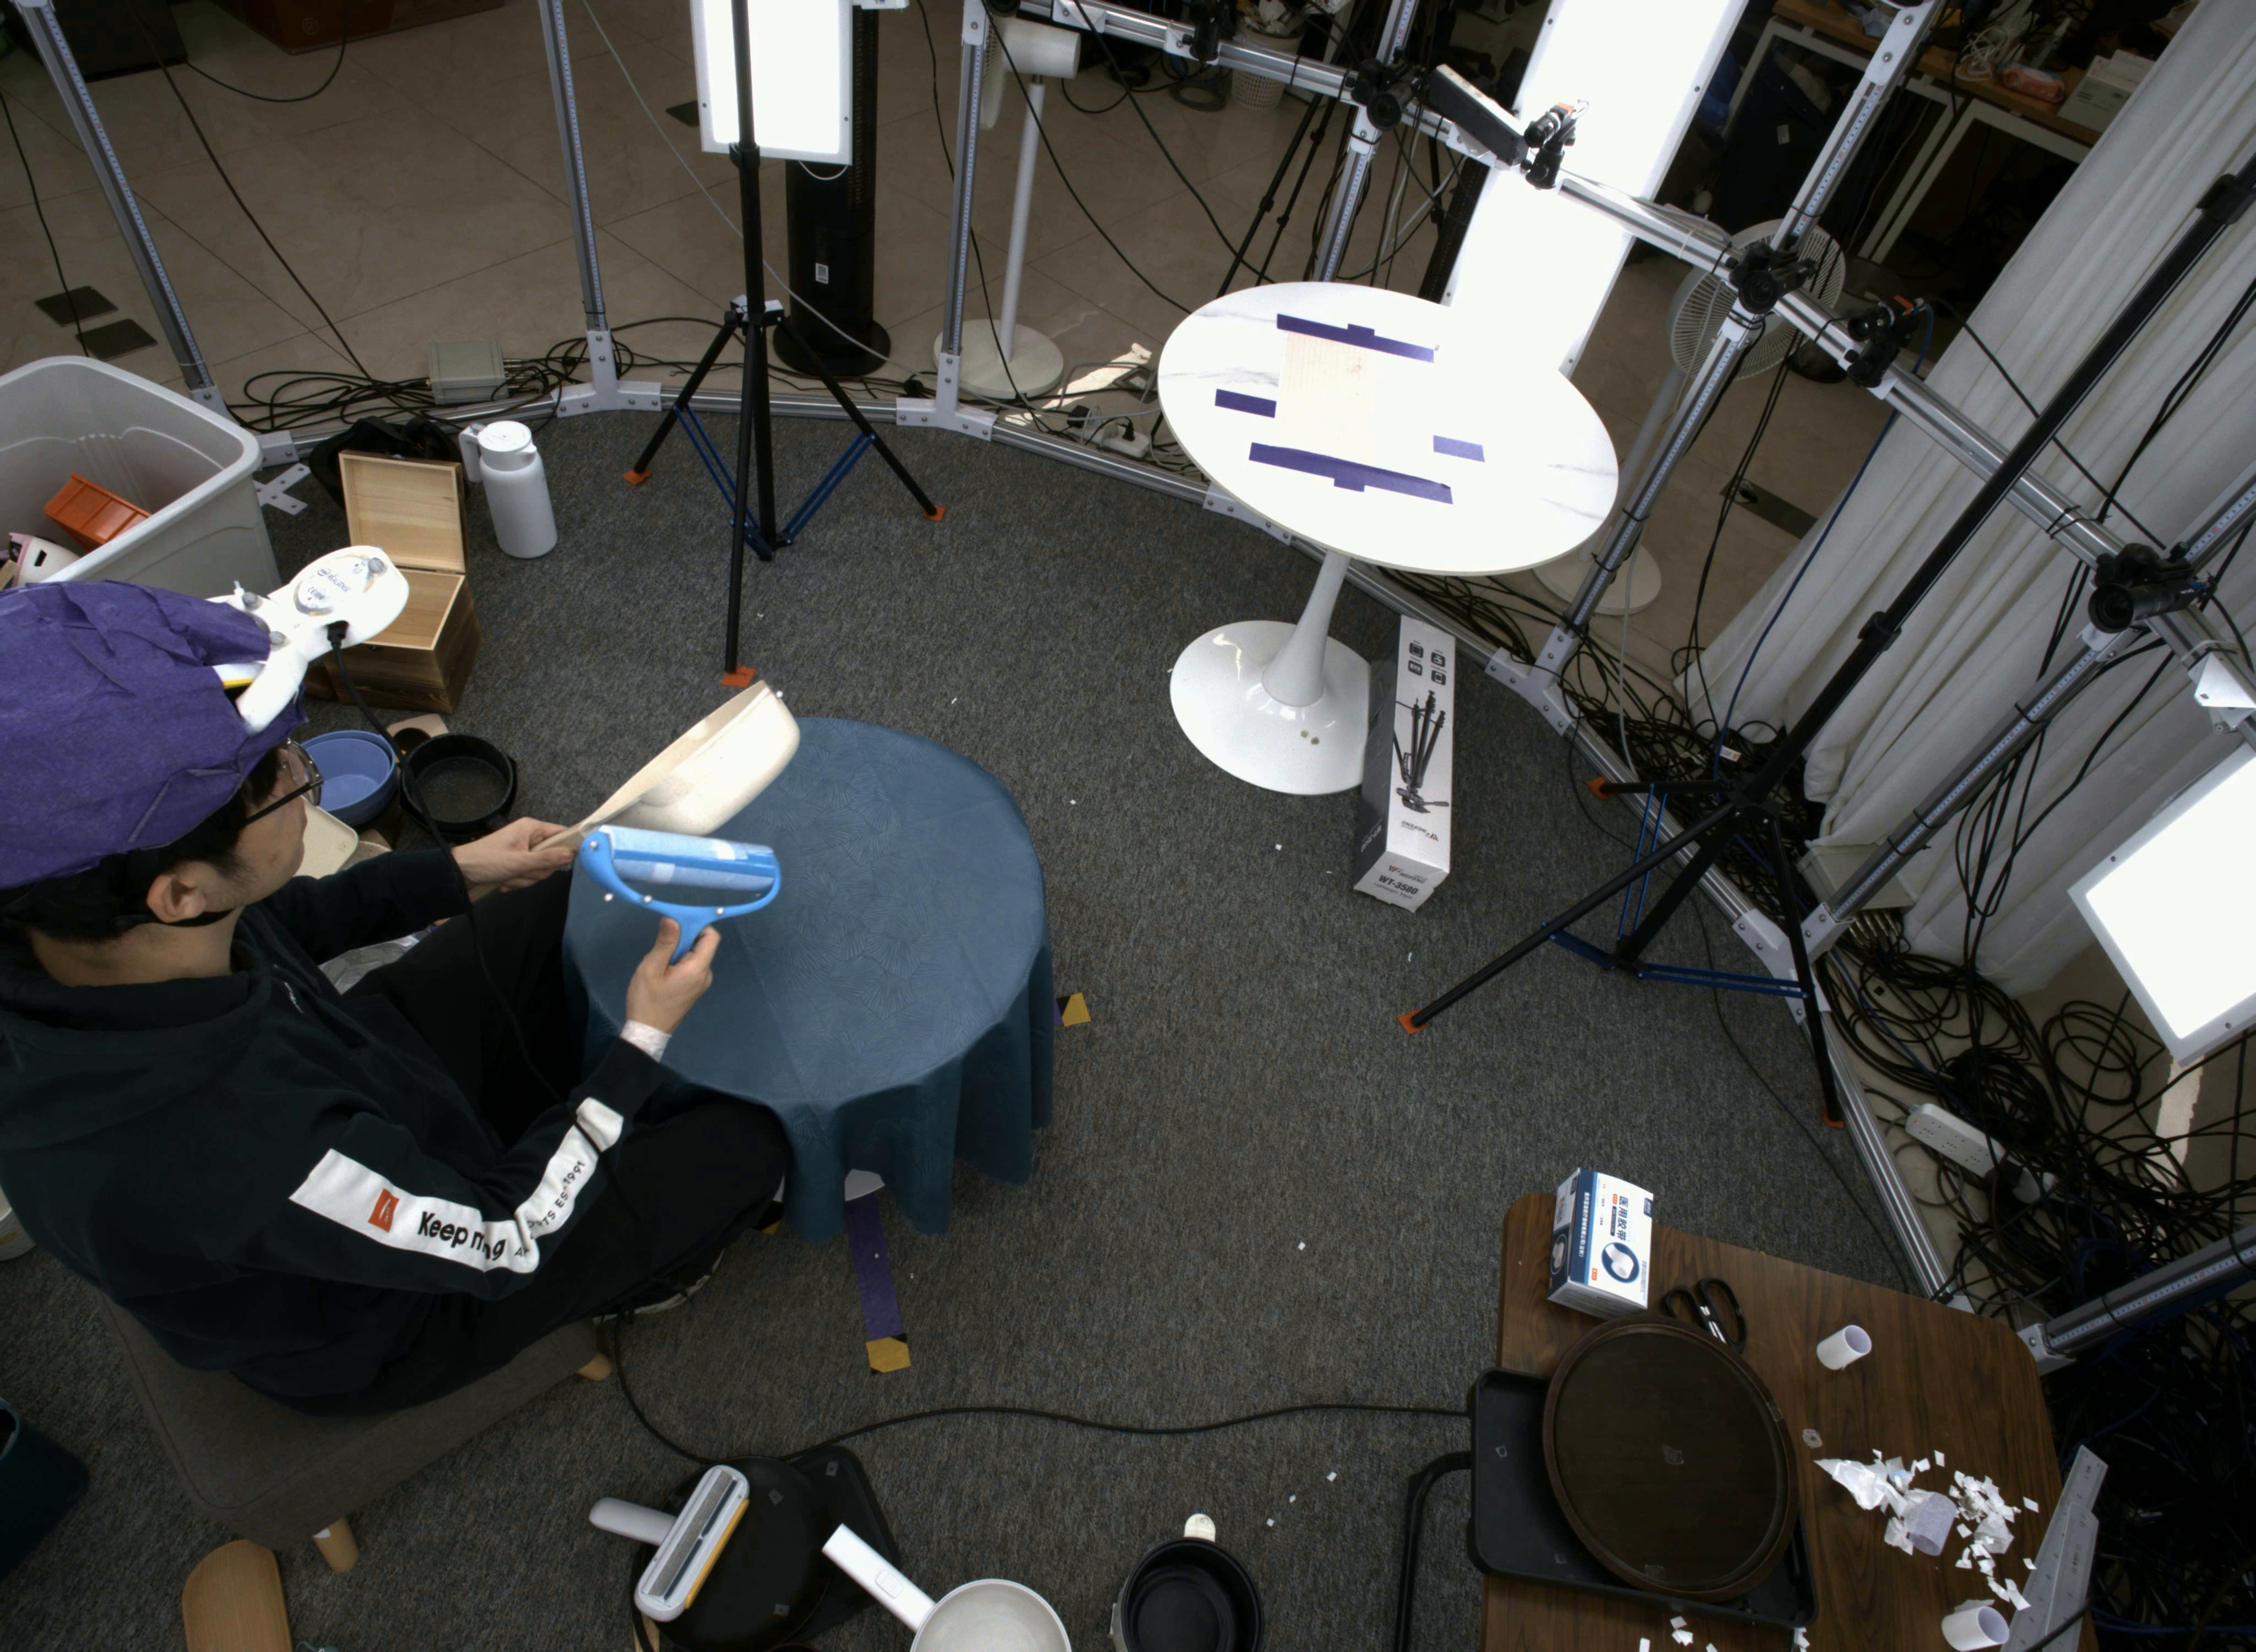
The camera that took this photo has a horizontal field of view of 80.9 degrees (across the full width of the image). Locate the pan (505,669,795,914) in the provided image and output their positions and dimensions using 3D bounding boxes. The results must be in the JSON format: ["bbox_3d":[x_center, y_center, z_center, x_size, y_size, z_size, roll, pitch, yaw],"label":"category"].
[{"bbox_3d":[-0.554,-0.013,1.436,0.433,0.105,0.256,-37,22,1],"label":"pan"}]

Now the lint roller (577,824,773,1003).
[{"bbox_3d":[-0.472,0.093,1.331,0.065,0.182,0.234,5,0,36],"label":"lint roller"}]
